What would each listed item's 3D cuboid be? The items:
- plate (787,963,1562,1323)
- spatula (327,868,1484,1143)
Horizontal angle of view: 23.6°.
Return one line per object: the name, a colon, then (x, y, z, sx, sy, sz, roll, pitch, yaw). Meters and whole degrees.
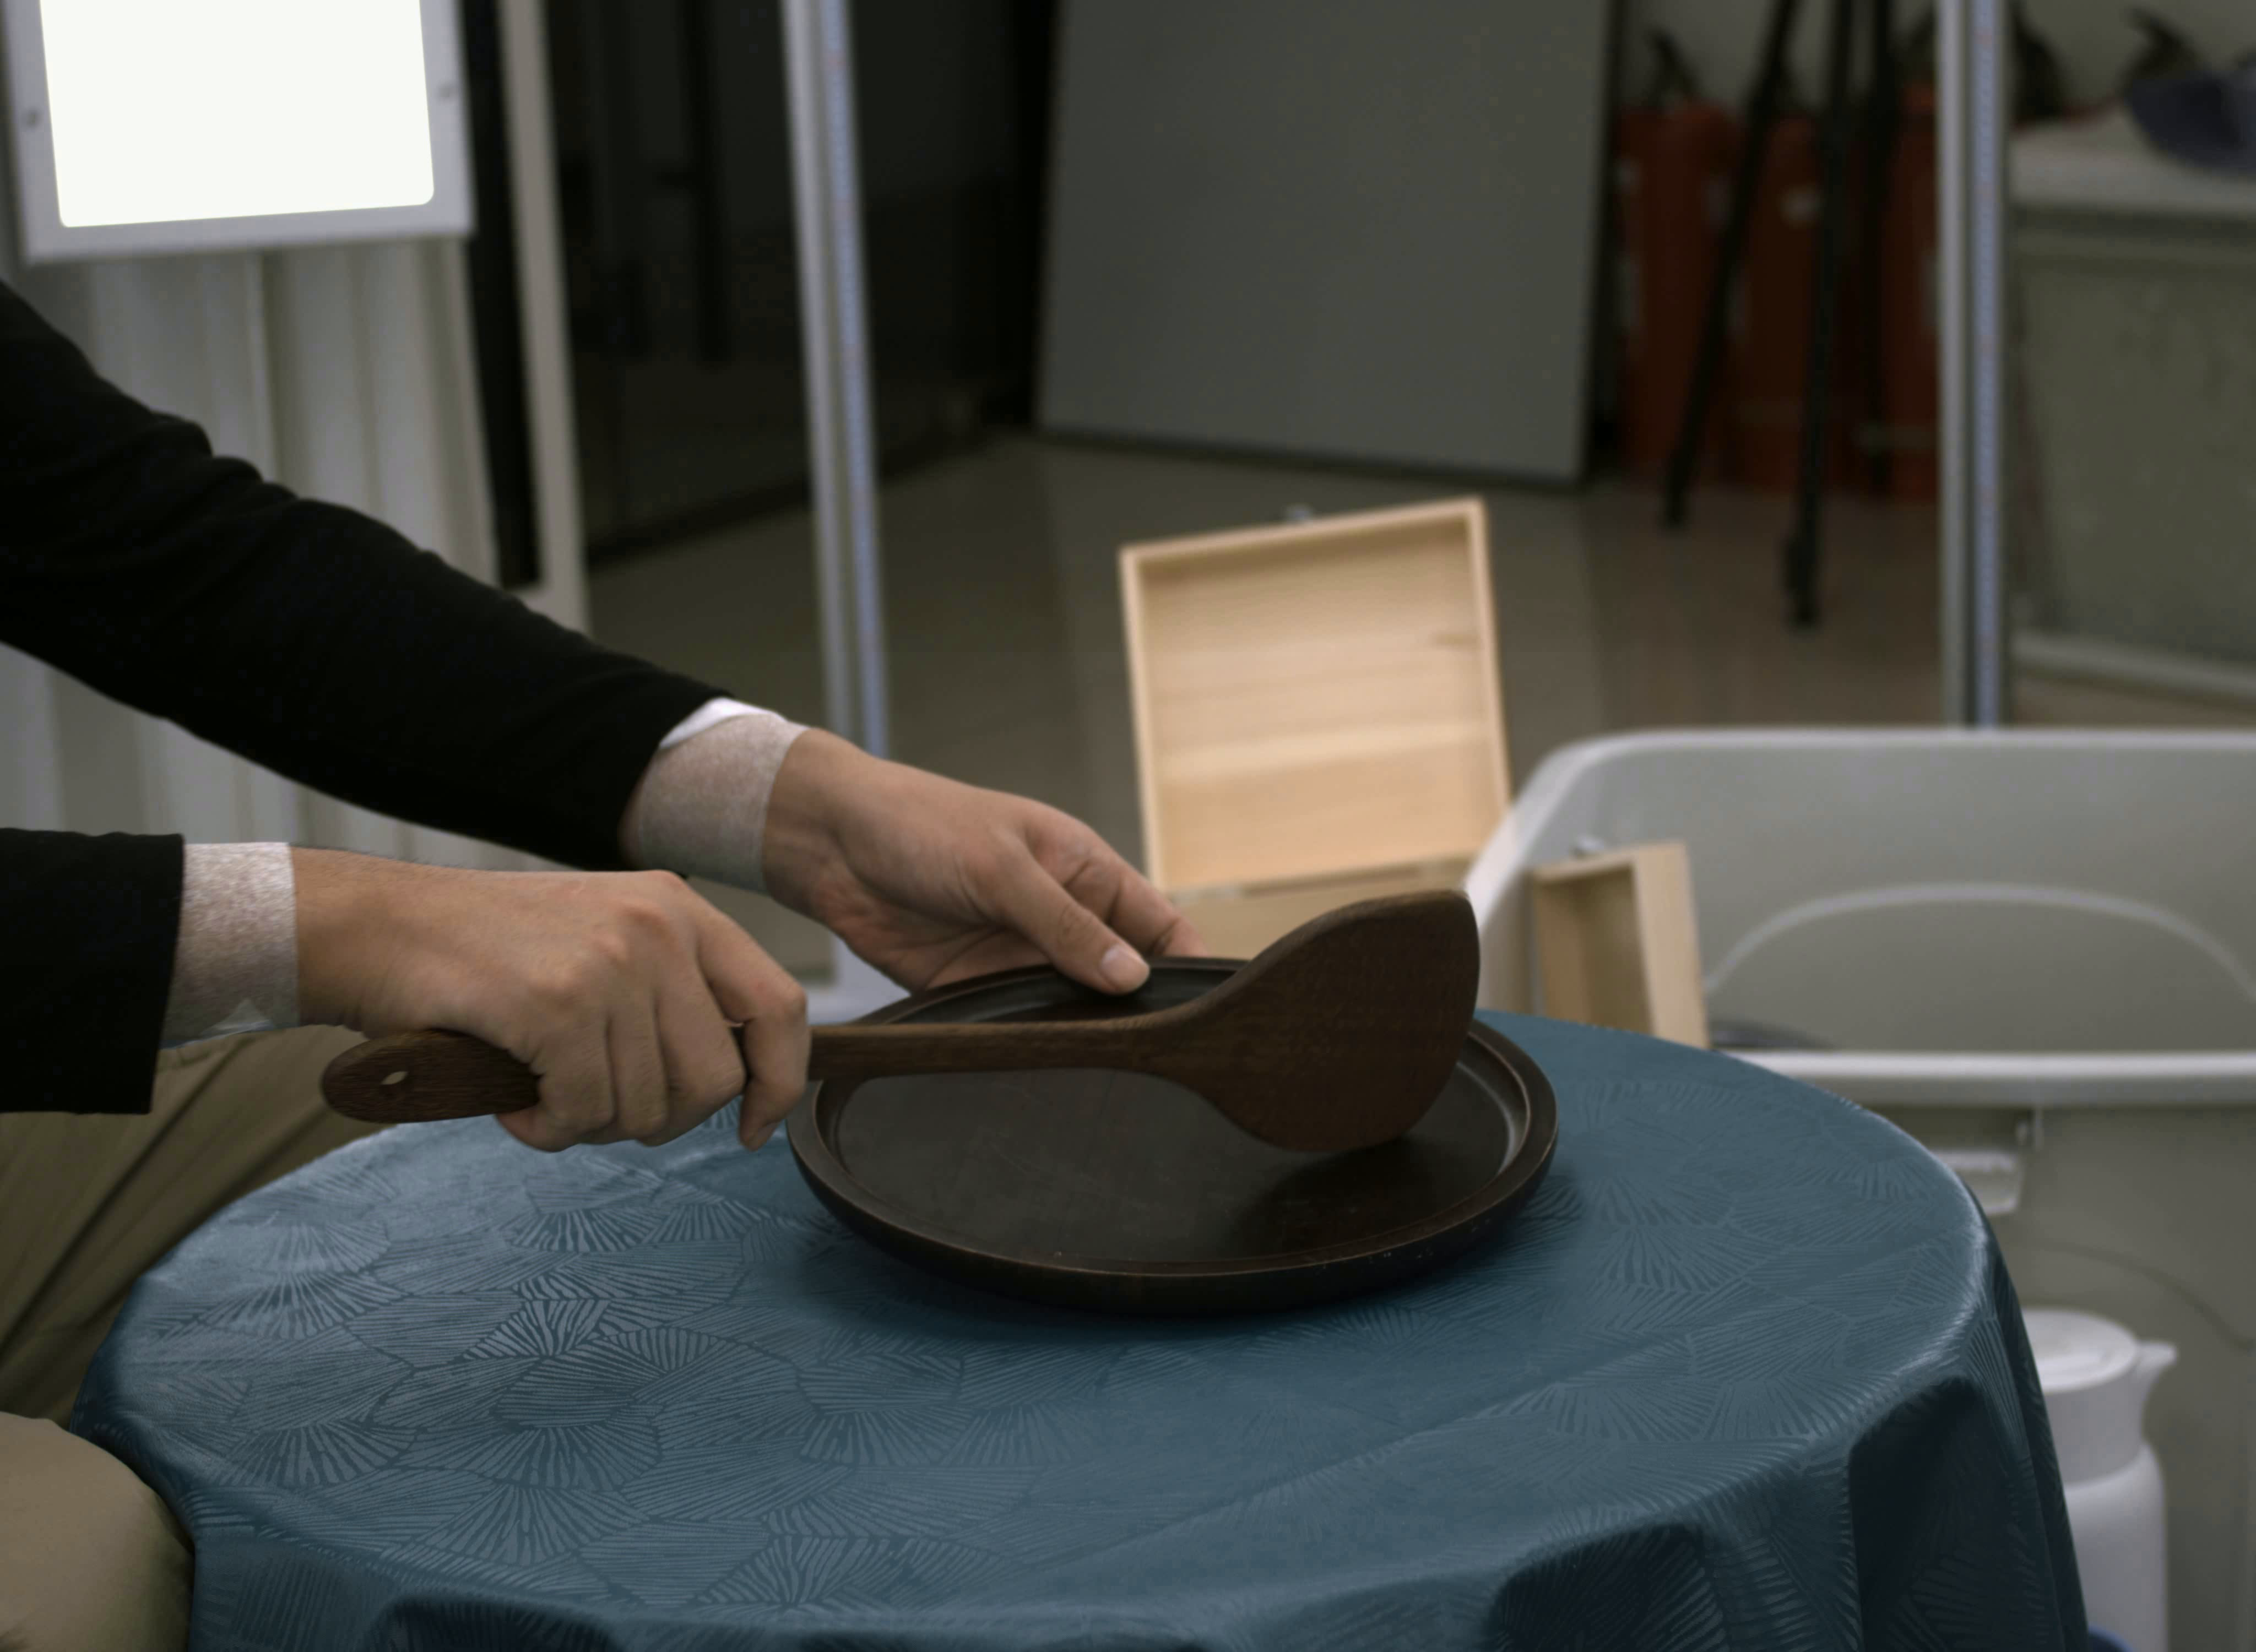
plate: (0.015, 0.099, 1.741, 0.251, 0.029, 0.255, -1, 22, 0)
spatula: (-0.060, 0.064, 1.645, 0.377, 0.097, 0.016, -2, 29, -24)
